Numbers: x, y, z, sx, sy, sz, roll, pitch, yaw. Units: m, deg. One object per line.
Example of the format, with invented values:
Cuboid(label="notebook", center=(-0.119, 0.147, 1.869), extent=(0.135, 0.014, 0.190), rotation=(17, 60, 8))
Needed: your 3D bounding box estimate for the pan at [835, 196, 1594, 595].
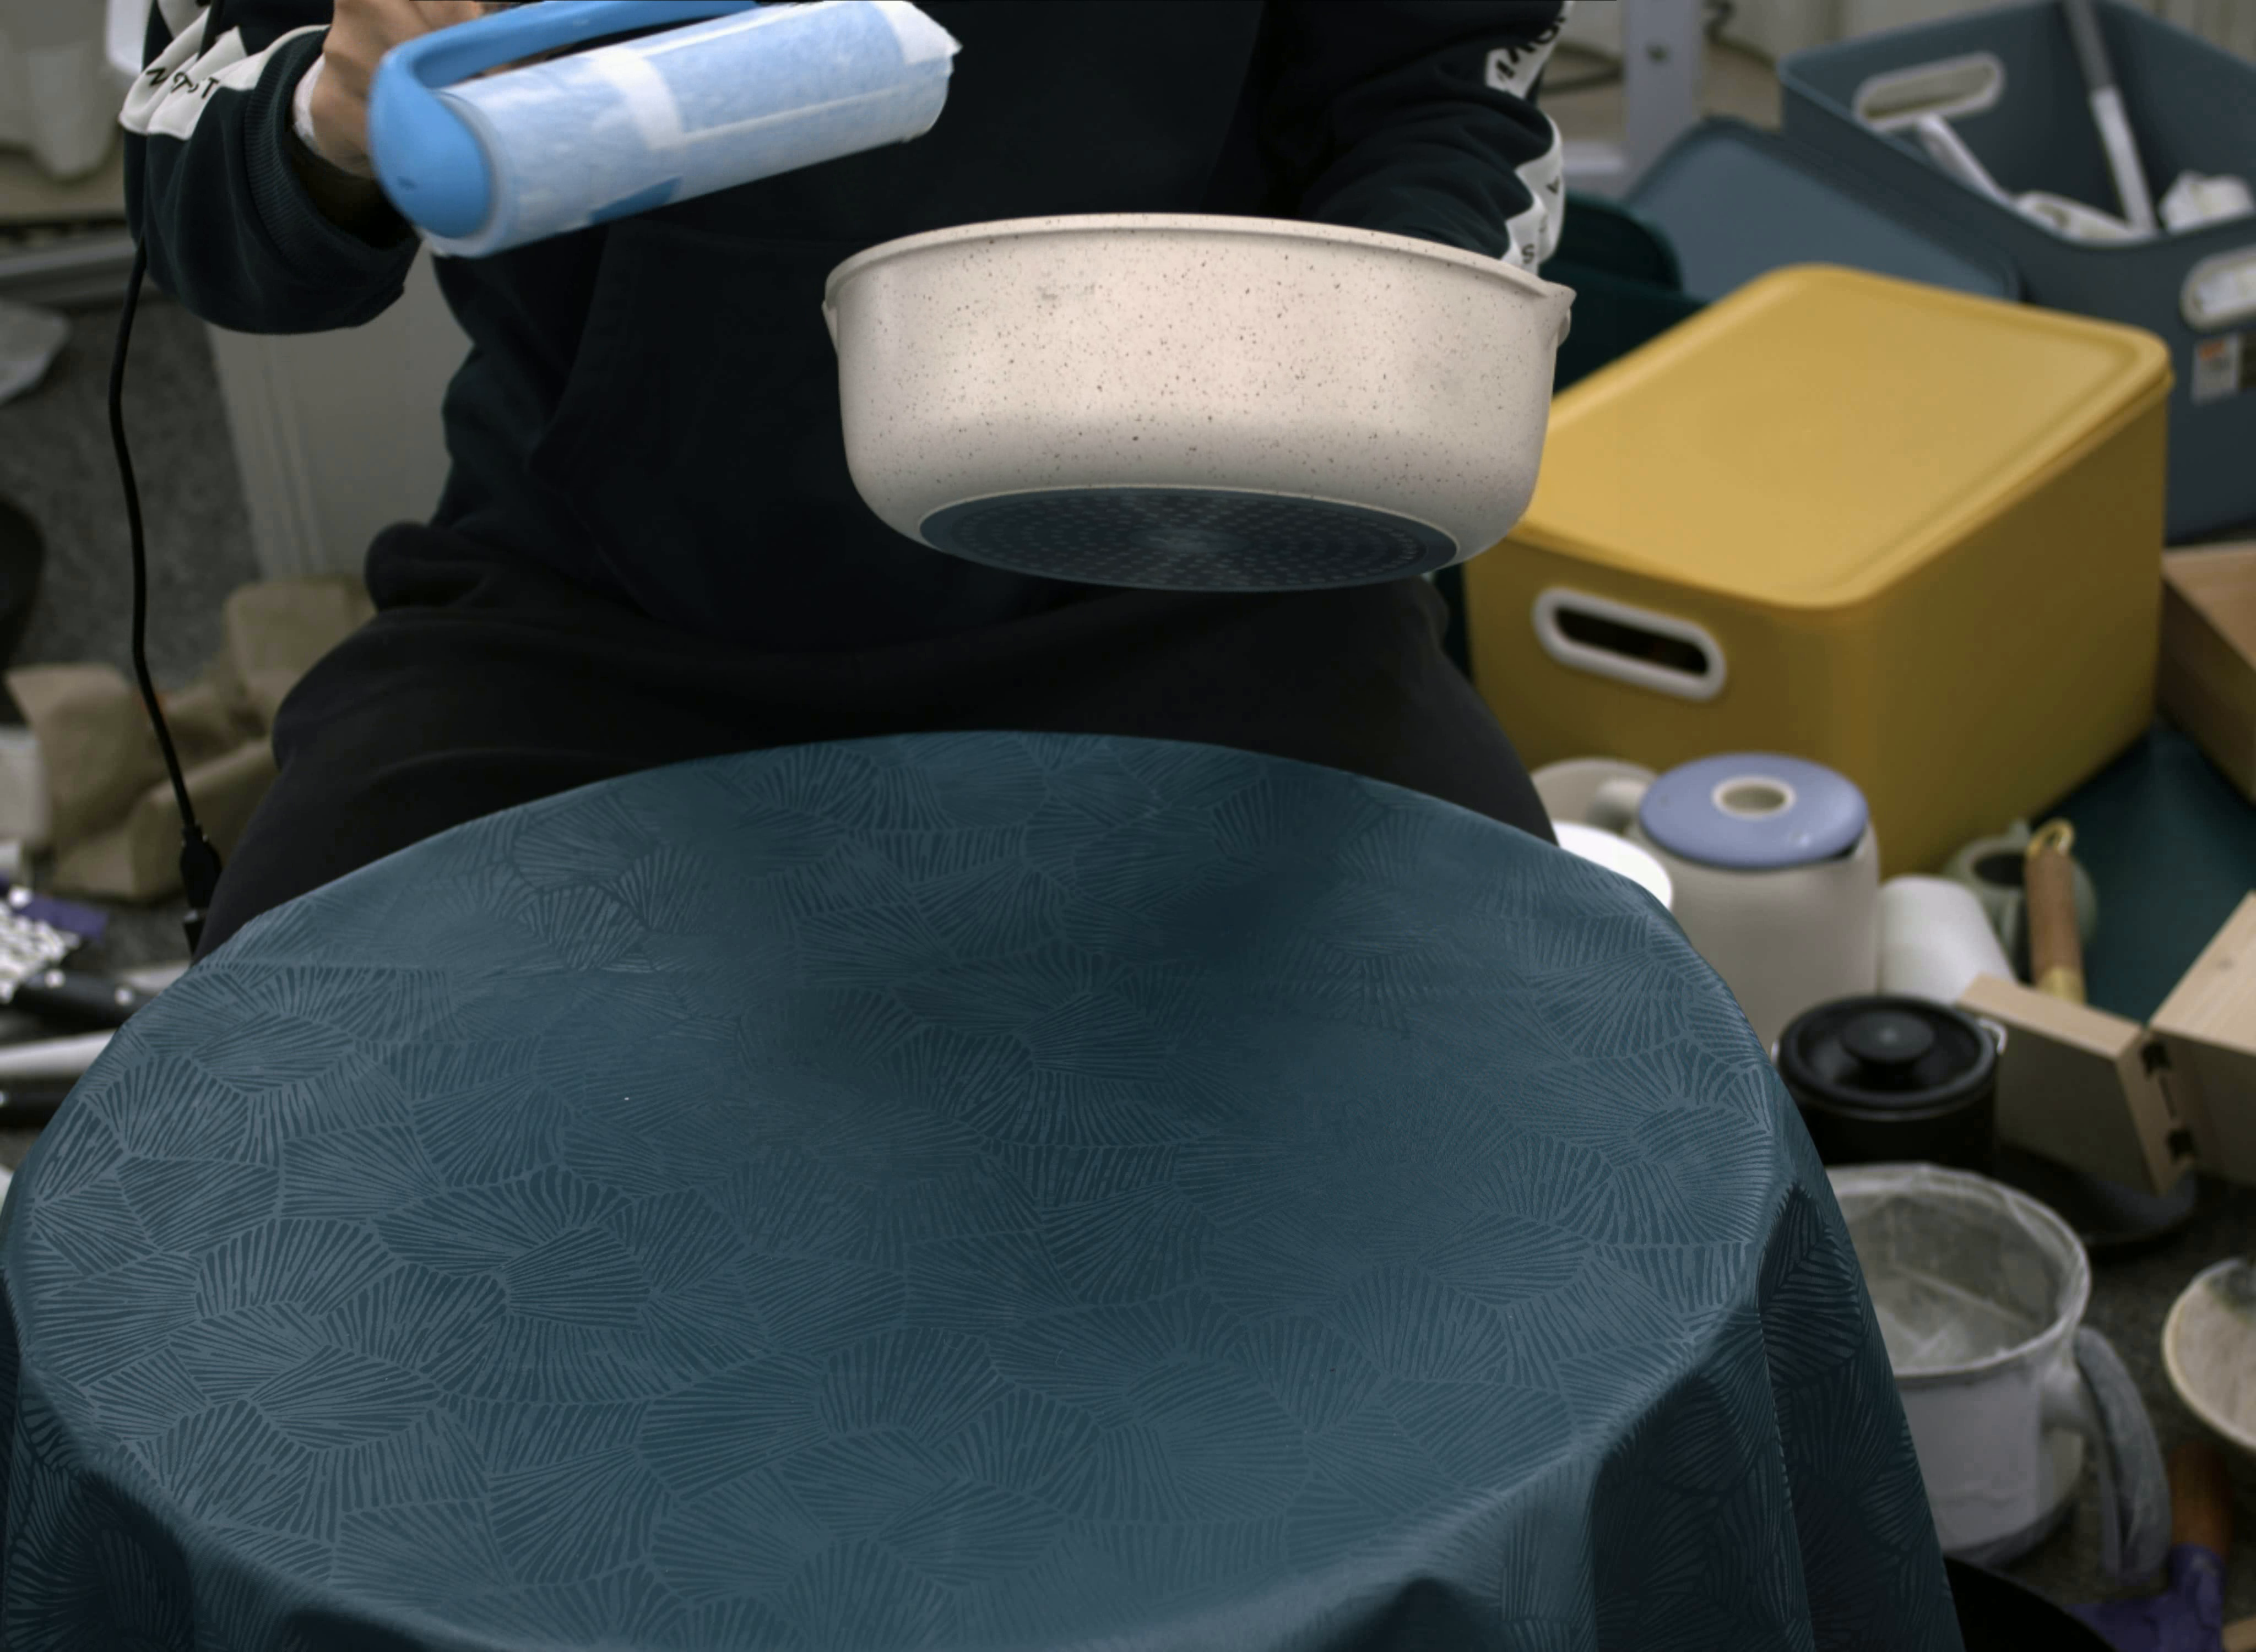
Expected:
Cuboid(label="pan", center=(0.055, -0.131, 1.977), extent=(0.261, 0.103, 0.434), rotation=(-1, -9, 18))

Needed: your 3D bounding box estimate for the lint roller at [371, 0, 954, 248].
Cuboid(label="lint roller", center=(-0.187, -0.239, 1.846), extent=(0.179, 0.067, 0.231), rotation=(10, 23, 40))
